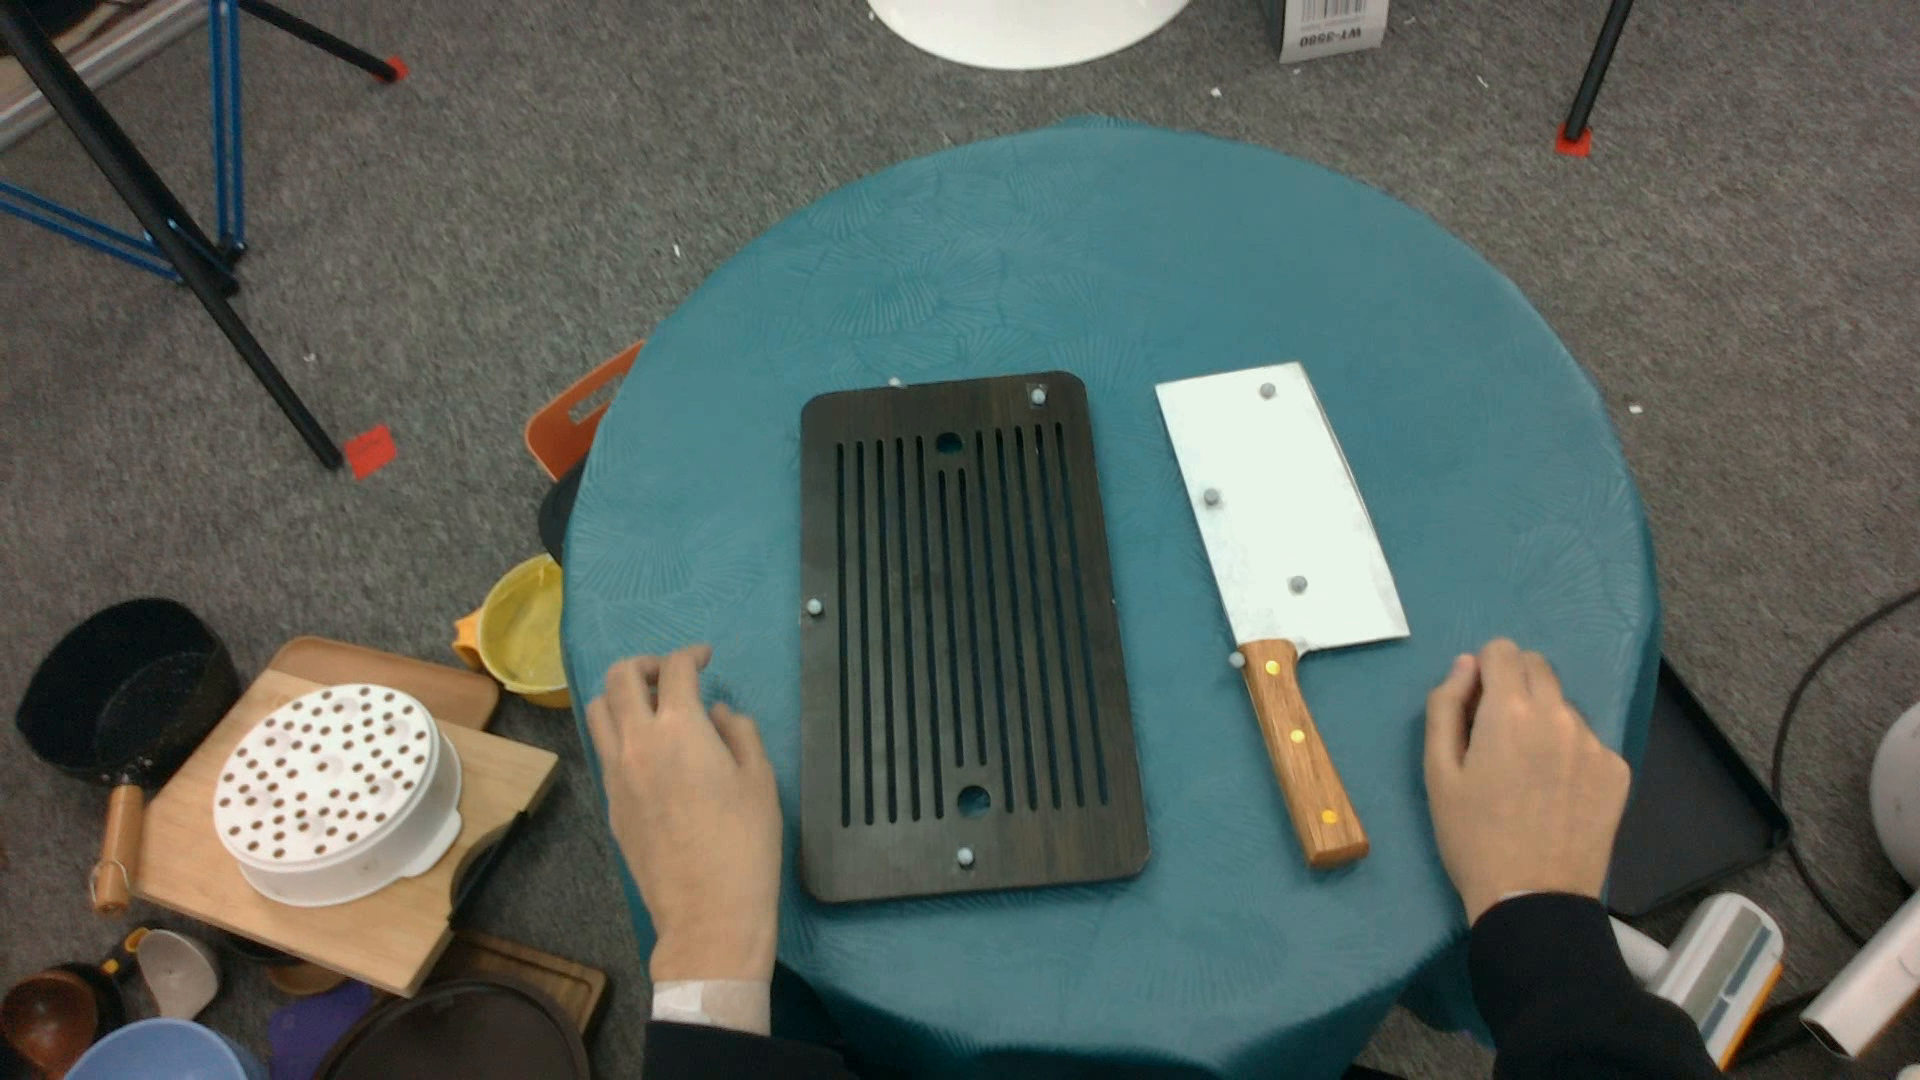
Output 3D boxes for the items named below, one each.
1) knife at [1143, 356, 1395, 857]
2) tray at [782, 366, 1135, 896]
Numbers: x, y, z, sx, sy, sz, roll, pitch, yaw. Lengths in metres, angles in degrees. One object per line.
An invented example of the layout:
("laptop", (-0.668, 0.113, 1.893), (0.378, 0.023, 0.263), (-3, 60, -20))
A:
("knife", (0.176, 0.018, 0.733), (0.093, 0.021, 0.307), (-10, 55, -3))
("tray", (-0.010, 0.035, 0.737), (0.170, 0.018, 0.307), (-5, 58, 2))
